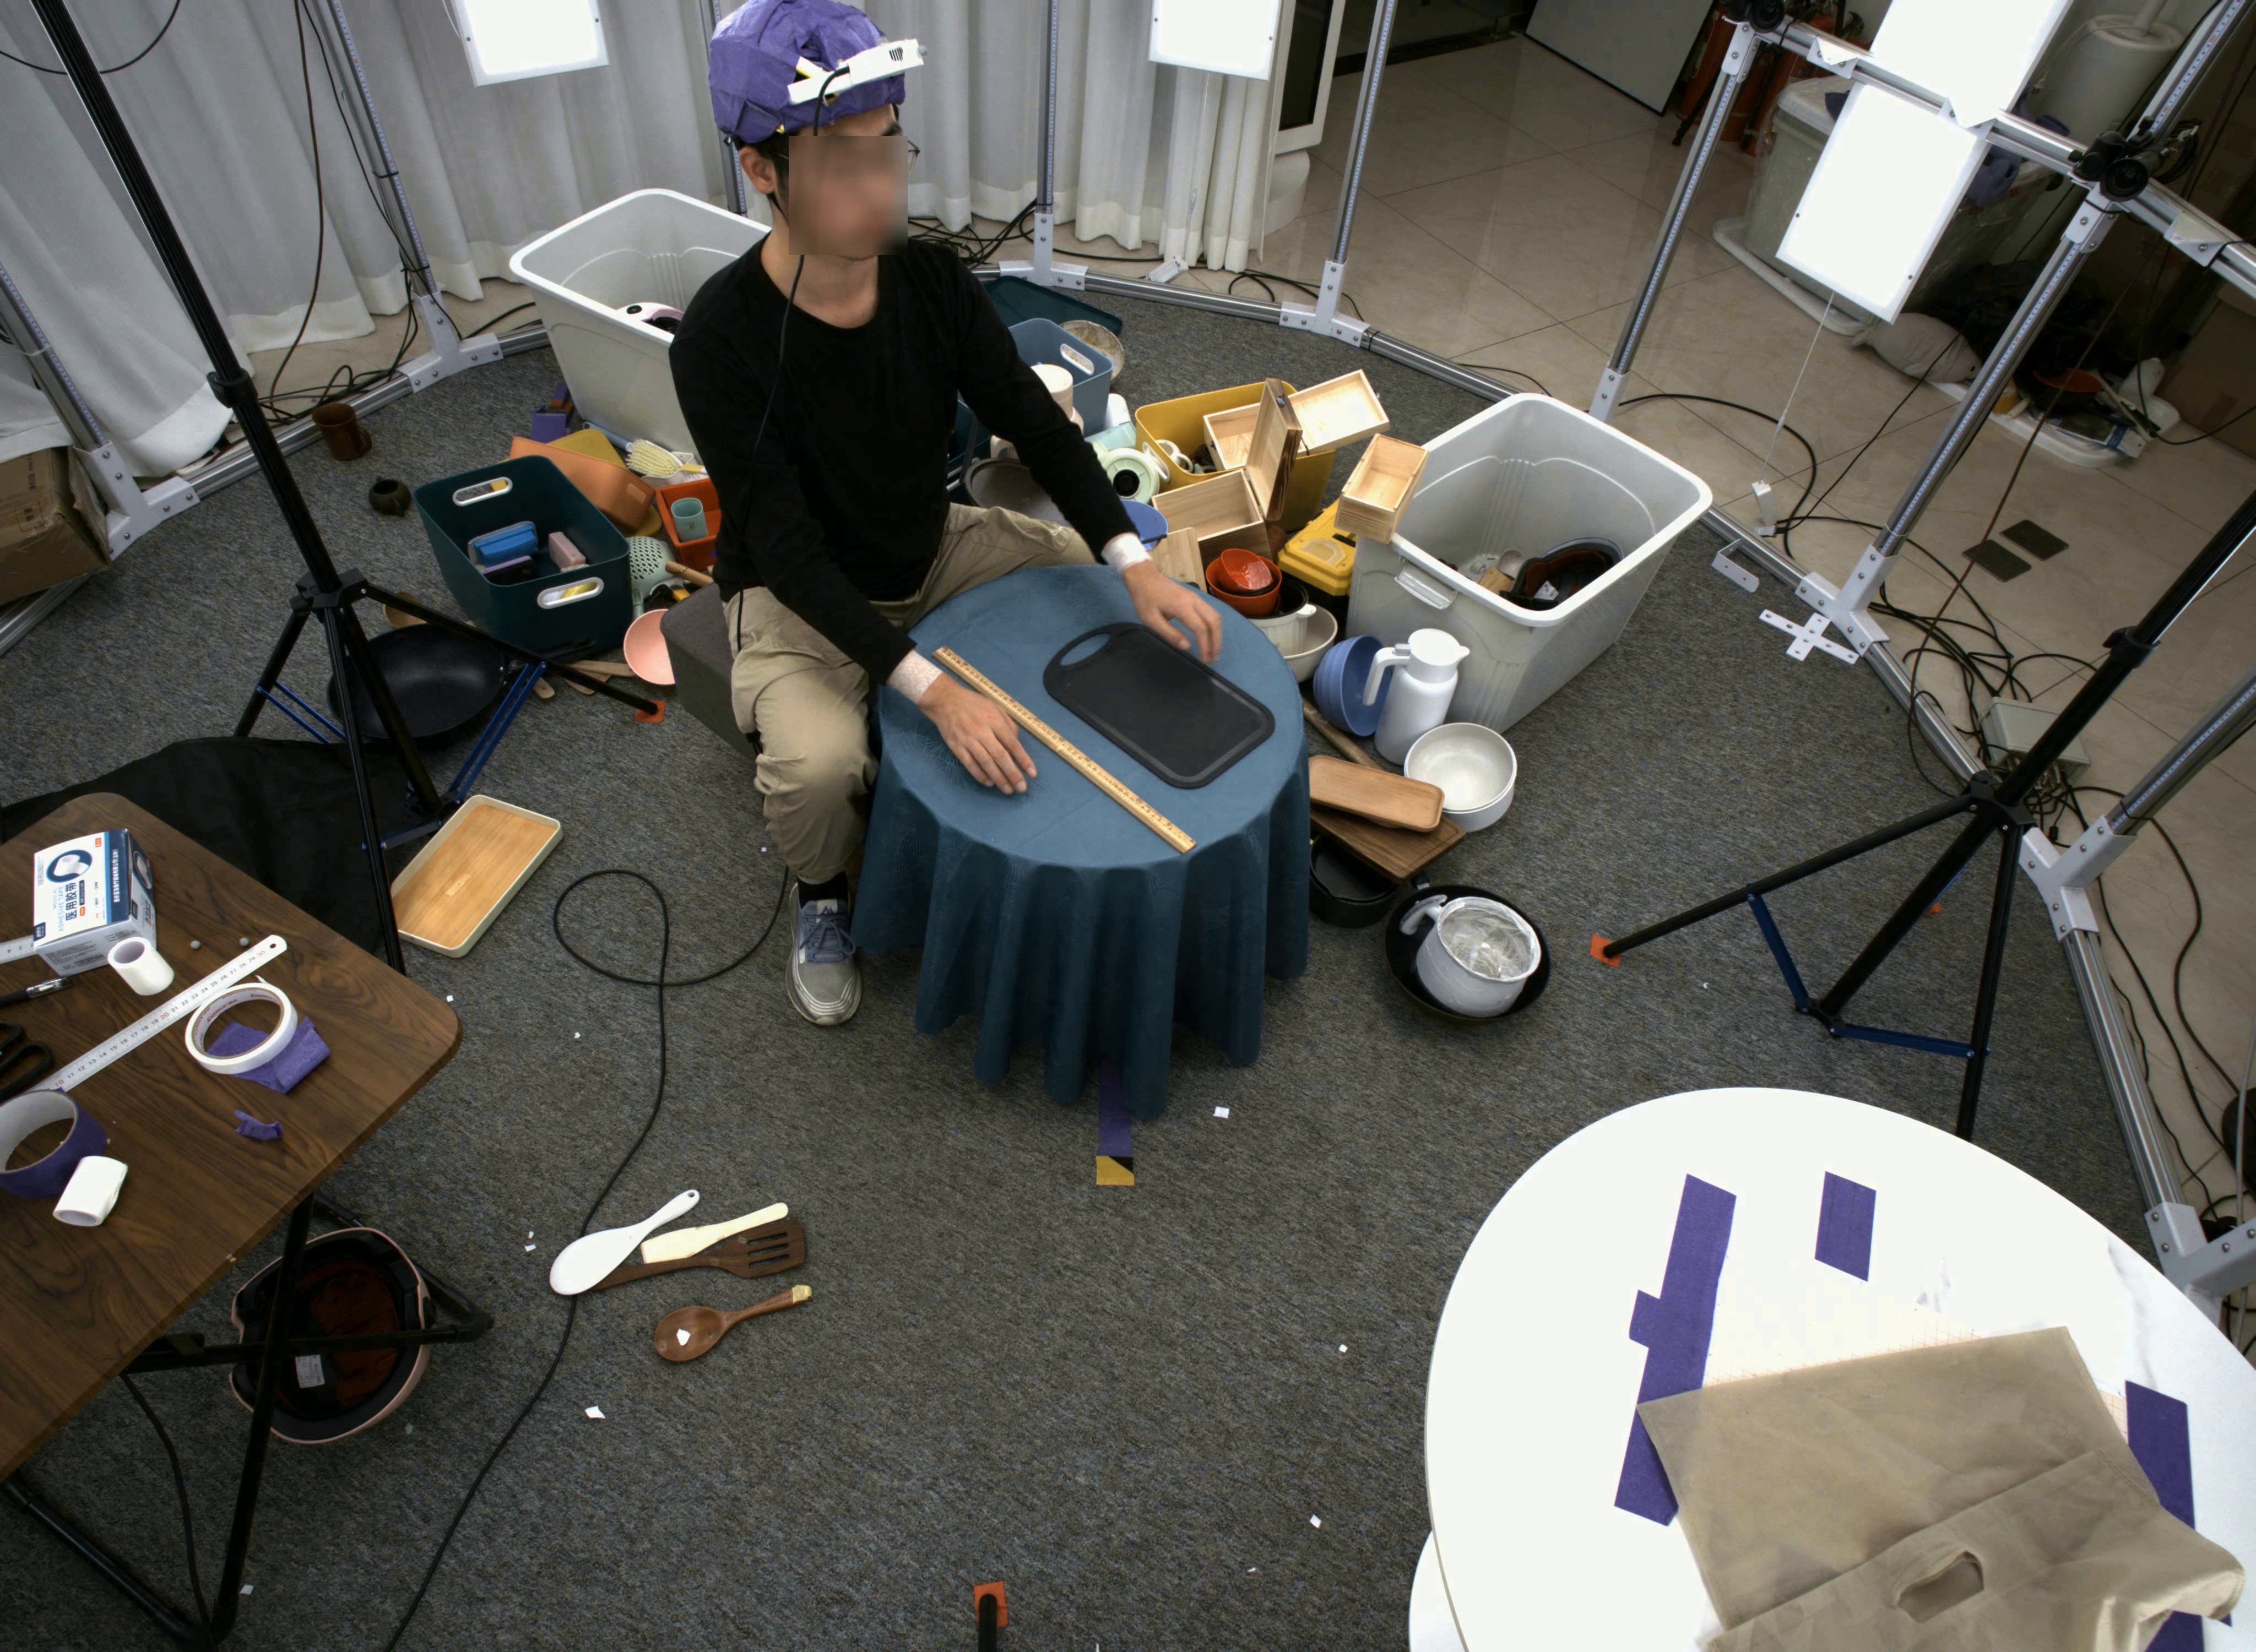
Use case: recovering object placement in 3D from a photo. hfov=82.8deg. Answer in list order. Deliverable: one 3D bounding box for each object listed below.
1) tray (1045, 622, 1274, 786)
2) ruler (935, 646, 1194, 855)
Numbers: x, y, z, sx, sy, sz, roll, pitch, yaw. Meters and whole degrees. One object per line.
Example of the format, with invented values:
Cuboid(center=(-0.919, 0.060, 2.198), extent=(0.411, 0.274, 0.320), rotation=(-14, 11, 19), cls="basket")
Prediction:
Cuboid(center=(0.037, -0.185, 1.828), extent=(0.213, 0.009, 0.330), rotation=(-35, 60, -29), cls="tray")
Cuboid(center=(-0.096, -0.113, 1.758), extent=(0.027, 0.006, 0.508), rotation=(-33, 58, -31), cls="ruler")
